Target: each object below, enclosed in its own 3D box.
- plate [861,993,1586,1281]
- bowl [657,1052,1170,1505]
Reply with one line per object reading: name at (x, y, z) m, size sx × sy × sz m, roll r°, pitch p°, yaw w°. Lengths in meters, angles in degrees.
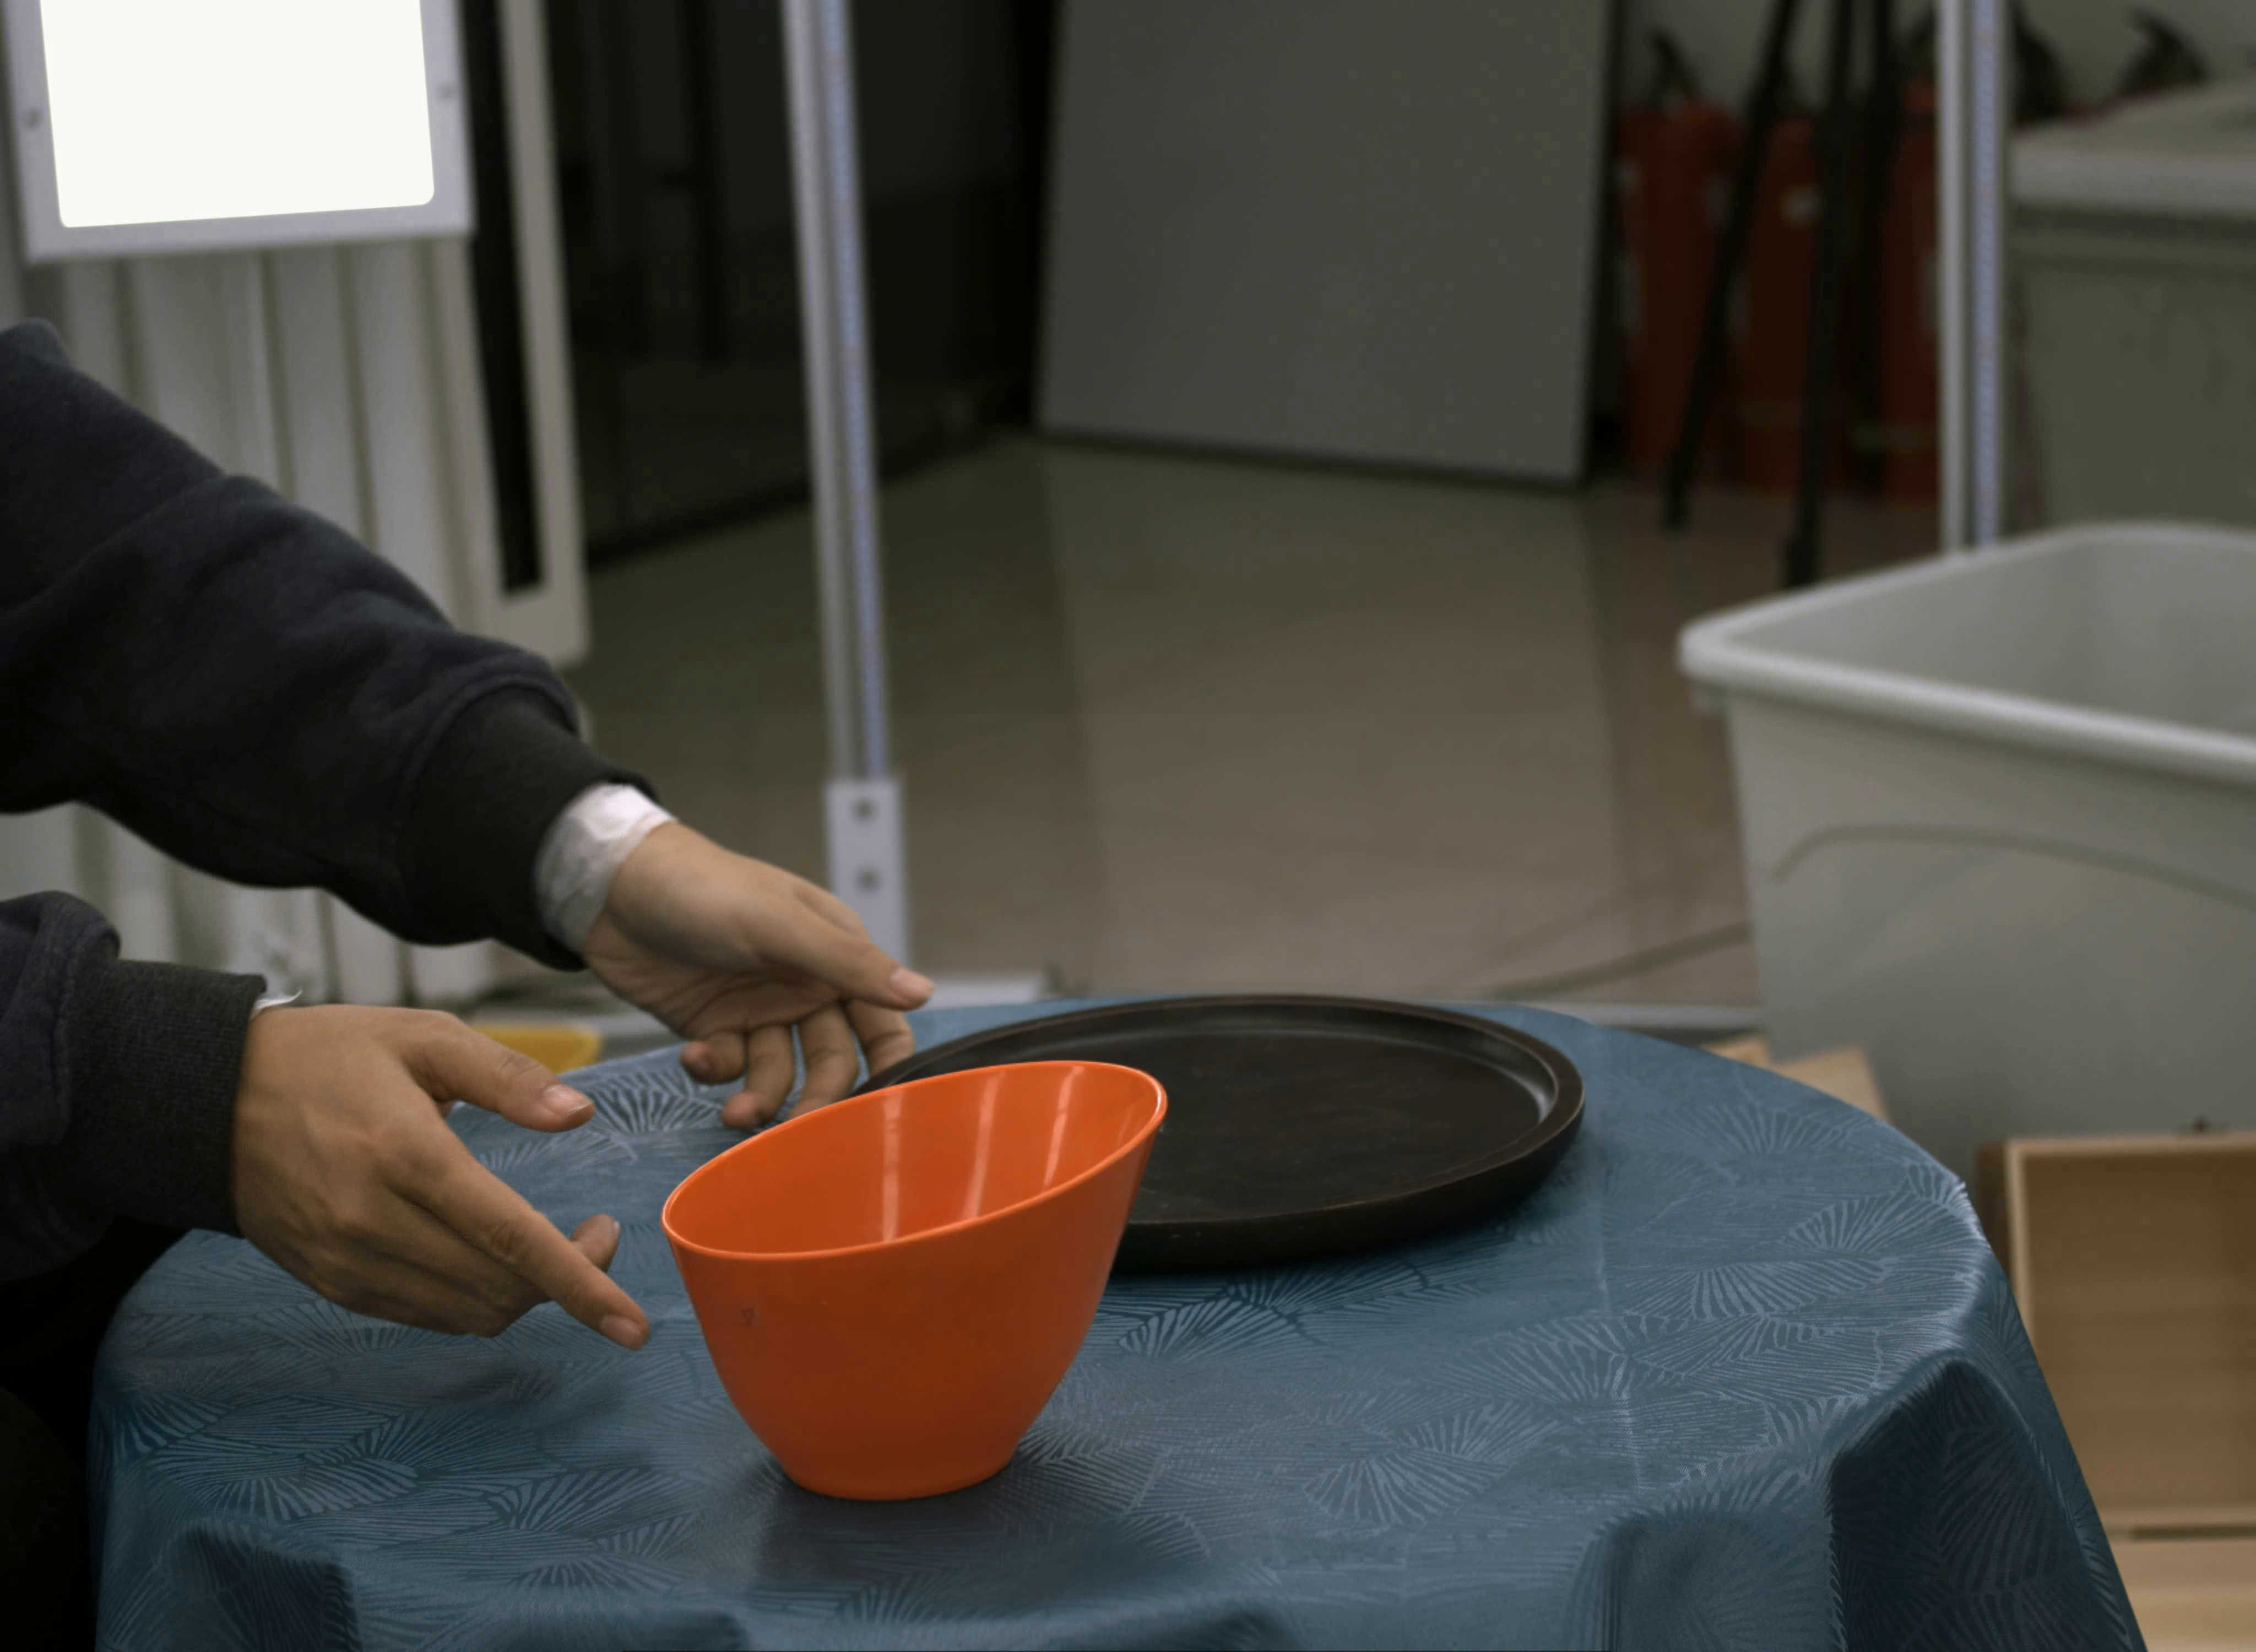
plate at (0.027, 0.102, 1.789) m, size 0.251 × 0.029 × 0.255 m, roll -4°, pitch 15°, yaw 0°
bowl at (-0.058, 0.131, 1.528) m, size 0.146 × 0.106 × 0.148 m, roll -3°, pitch 16°, yaw 0°
